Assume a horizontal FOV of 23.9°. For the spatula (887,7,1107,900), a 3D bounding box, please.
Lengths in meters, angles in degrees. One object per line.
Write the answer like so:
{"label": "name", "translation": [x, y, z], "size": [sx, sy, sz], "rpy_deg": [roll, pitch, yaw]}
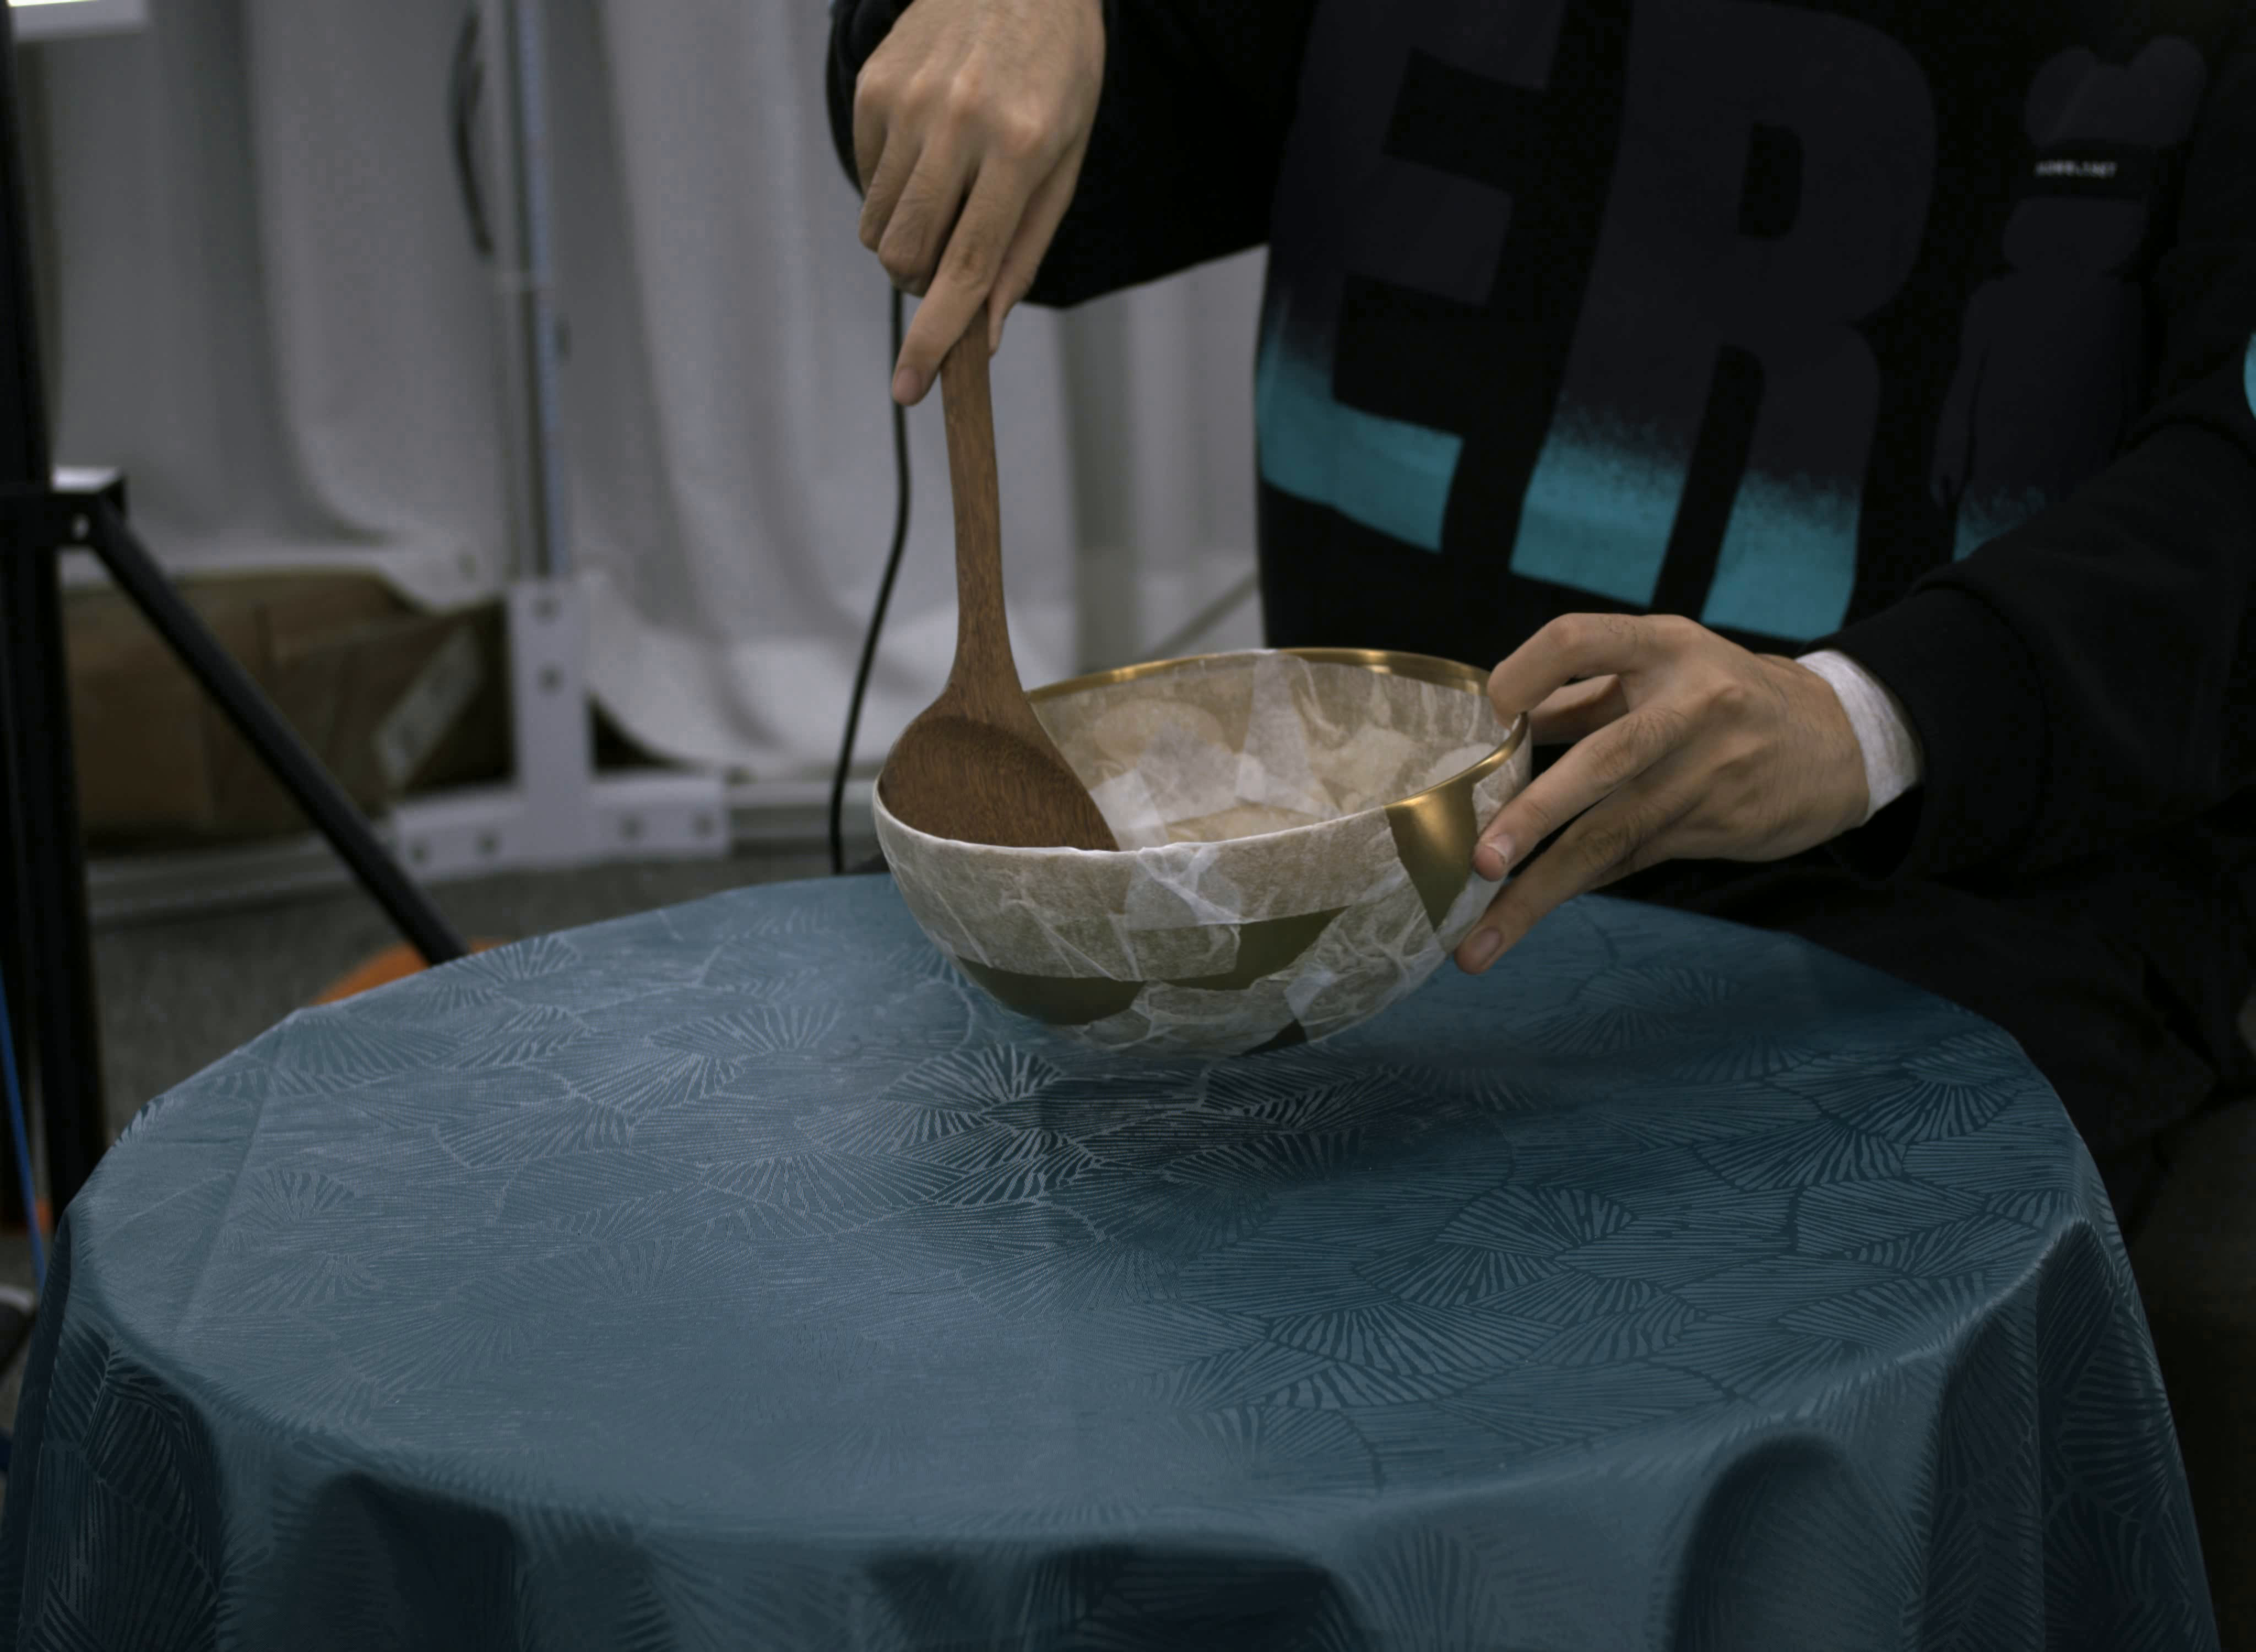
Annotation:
{"label": "spatula", "translation": [-0.050, -0.118, 1.717], "size": [0.093, 0.391, 0.016], "rpy_deg": [21, -42, -34]}

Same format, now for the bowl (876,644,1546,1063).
{"label": "bowl", "translation": [0.031, 0.017, 1.617], "size": [0.214, 0.094, 0.216], "rpy_deg": [-9, 15, 1]}
